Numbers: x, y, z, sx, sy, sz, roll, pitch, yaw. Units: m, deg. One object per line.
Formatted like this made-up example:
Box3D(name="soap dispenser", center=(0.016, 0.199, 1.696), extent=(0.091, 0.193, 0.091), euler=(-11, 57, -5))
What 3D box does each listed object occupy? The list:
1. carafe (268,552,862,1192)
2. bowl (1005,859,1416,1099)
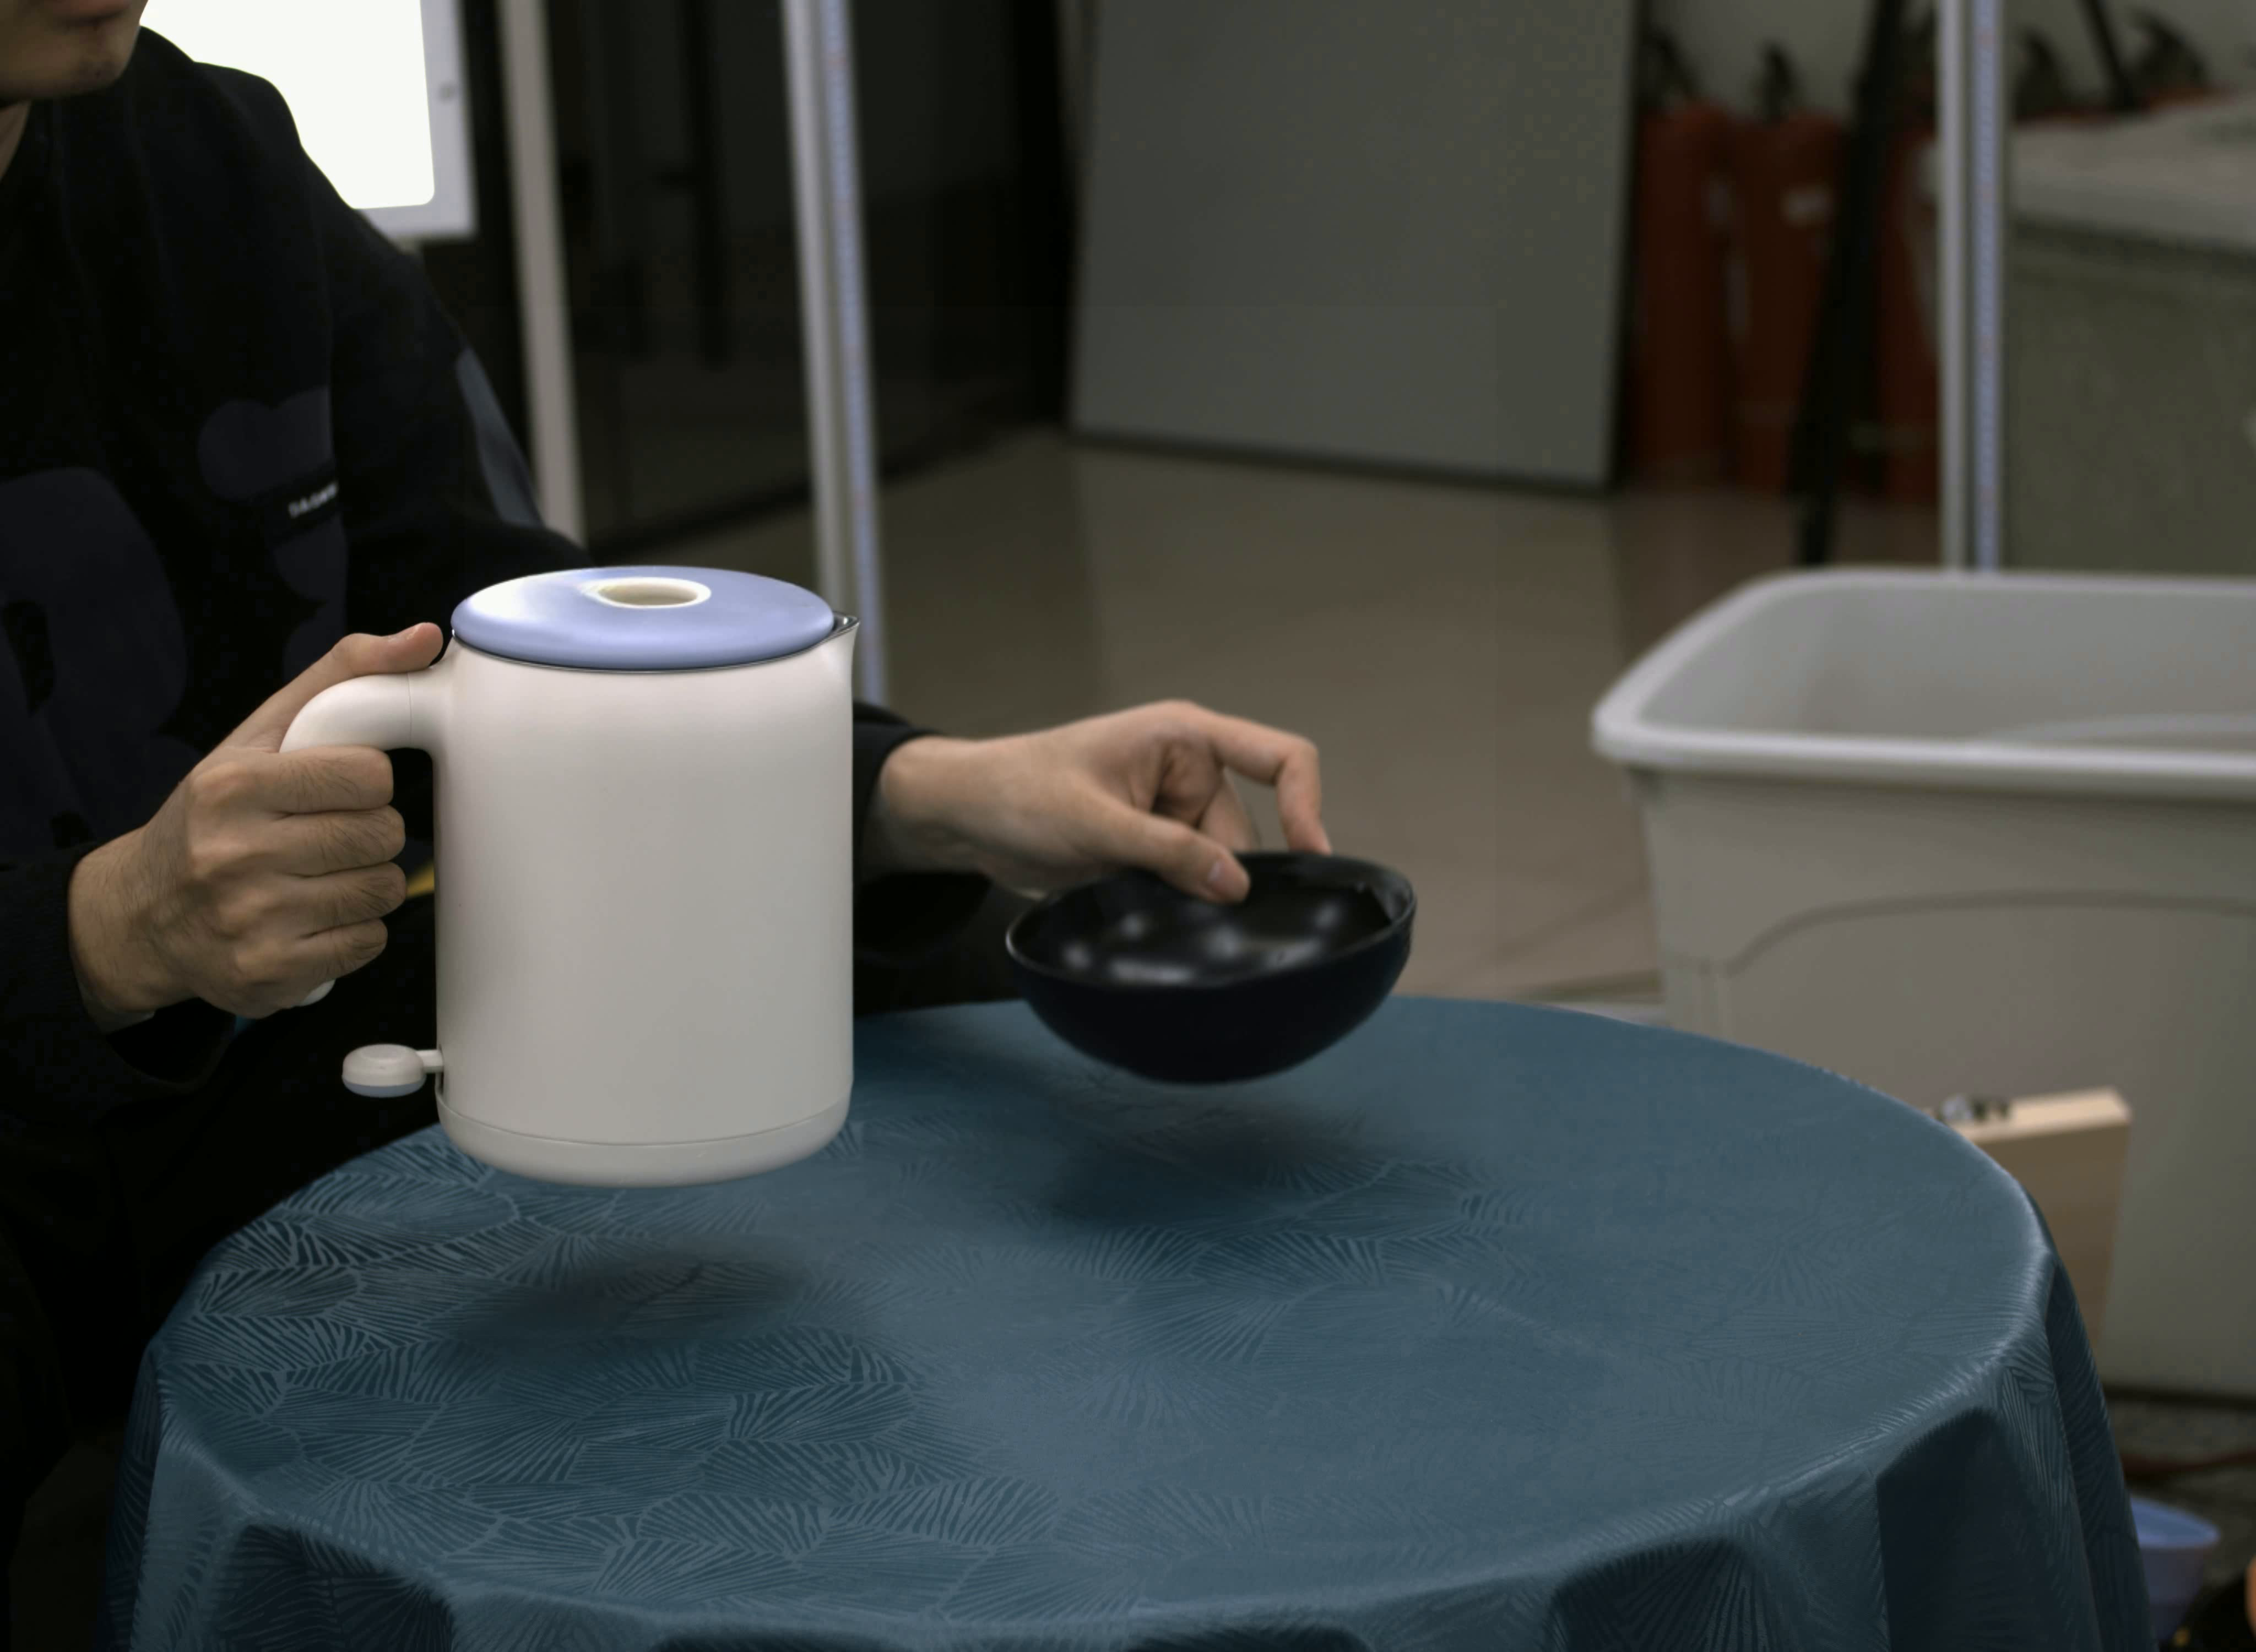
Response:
Box3D(name="carafe", center=(-0.172, 0.016, 1.672), extent=(0.187, 0.184, 0.133), euler=(-6, 14, -14))
Box3D(name="bowl", center=(0.030, 0.056, 1.795), extent=(0.138, 0.050, 0.140), euler=(-9, 16, 2))
